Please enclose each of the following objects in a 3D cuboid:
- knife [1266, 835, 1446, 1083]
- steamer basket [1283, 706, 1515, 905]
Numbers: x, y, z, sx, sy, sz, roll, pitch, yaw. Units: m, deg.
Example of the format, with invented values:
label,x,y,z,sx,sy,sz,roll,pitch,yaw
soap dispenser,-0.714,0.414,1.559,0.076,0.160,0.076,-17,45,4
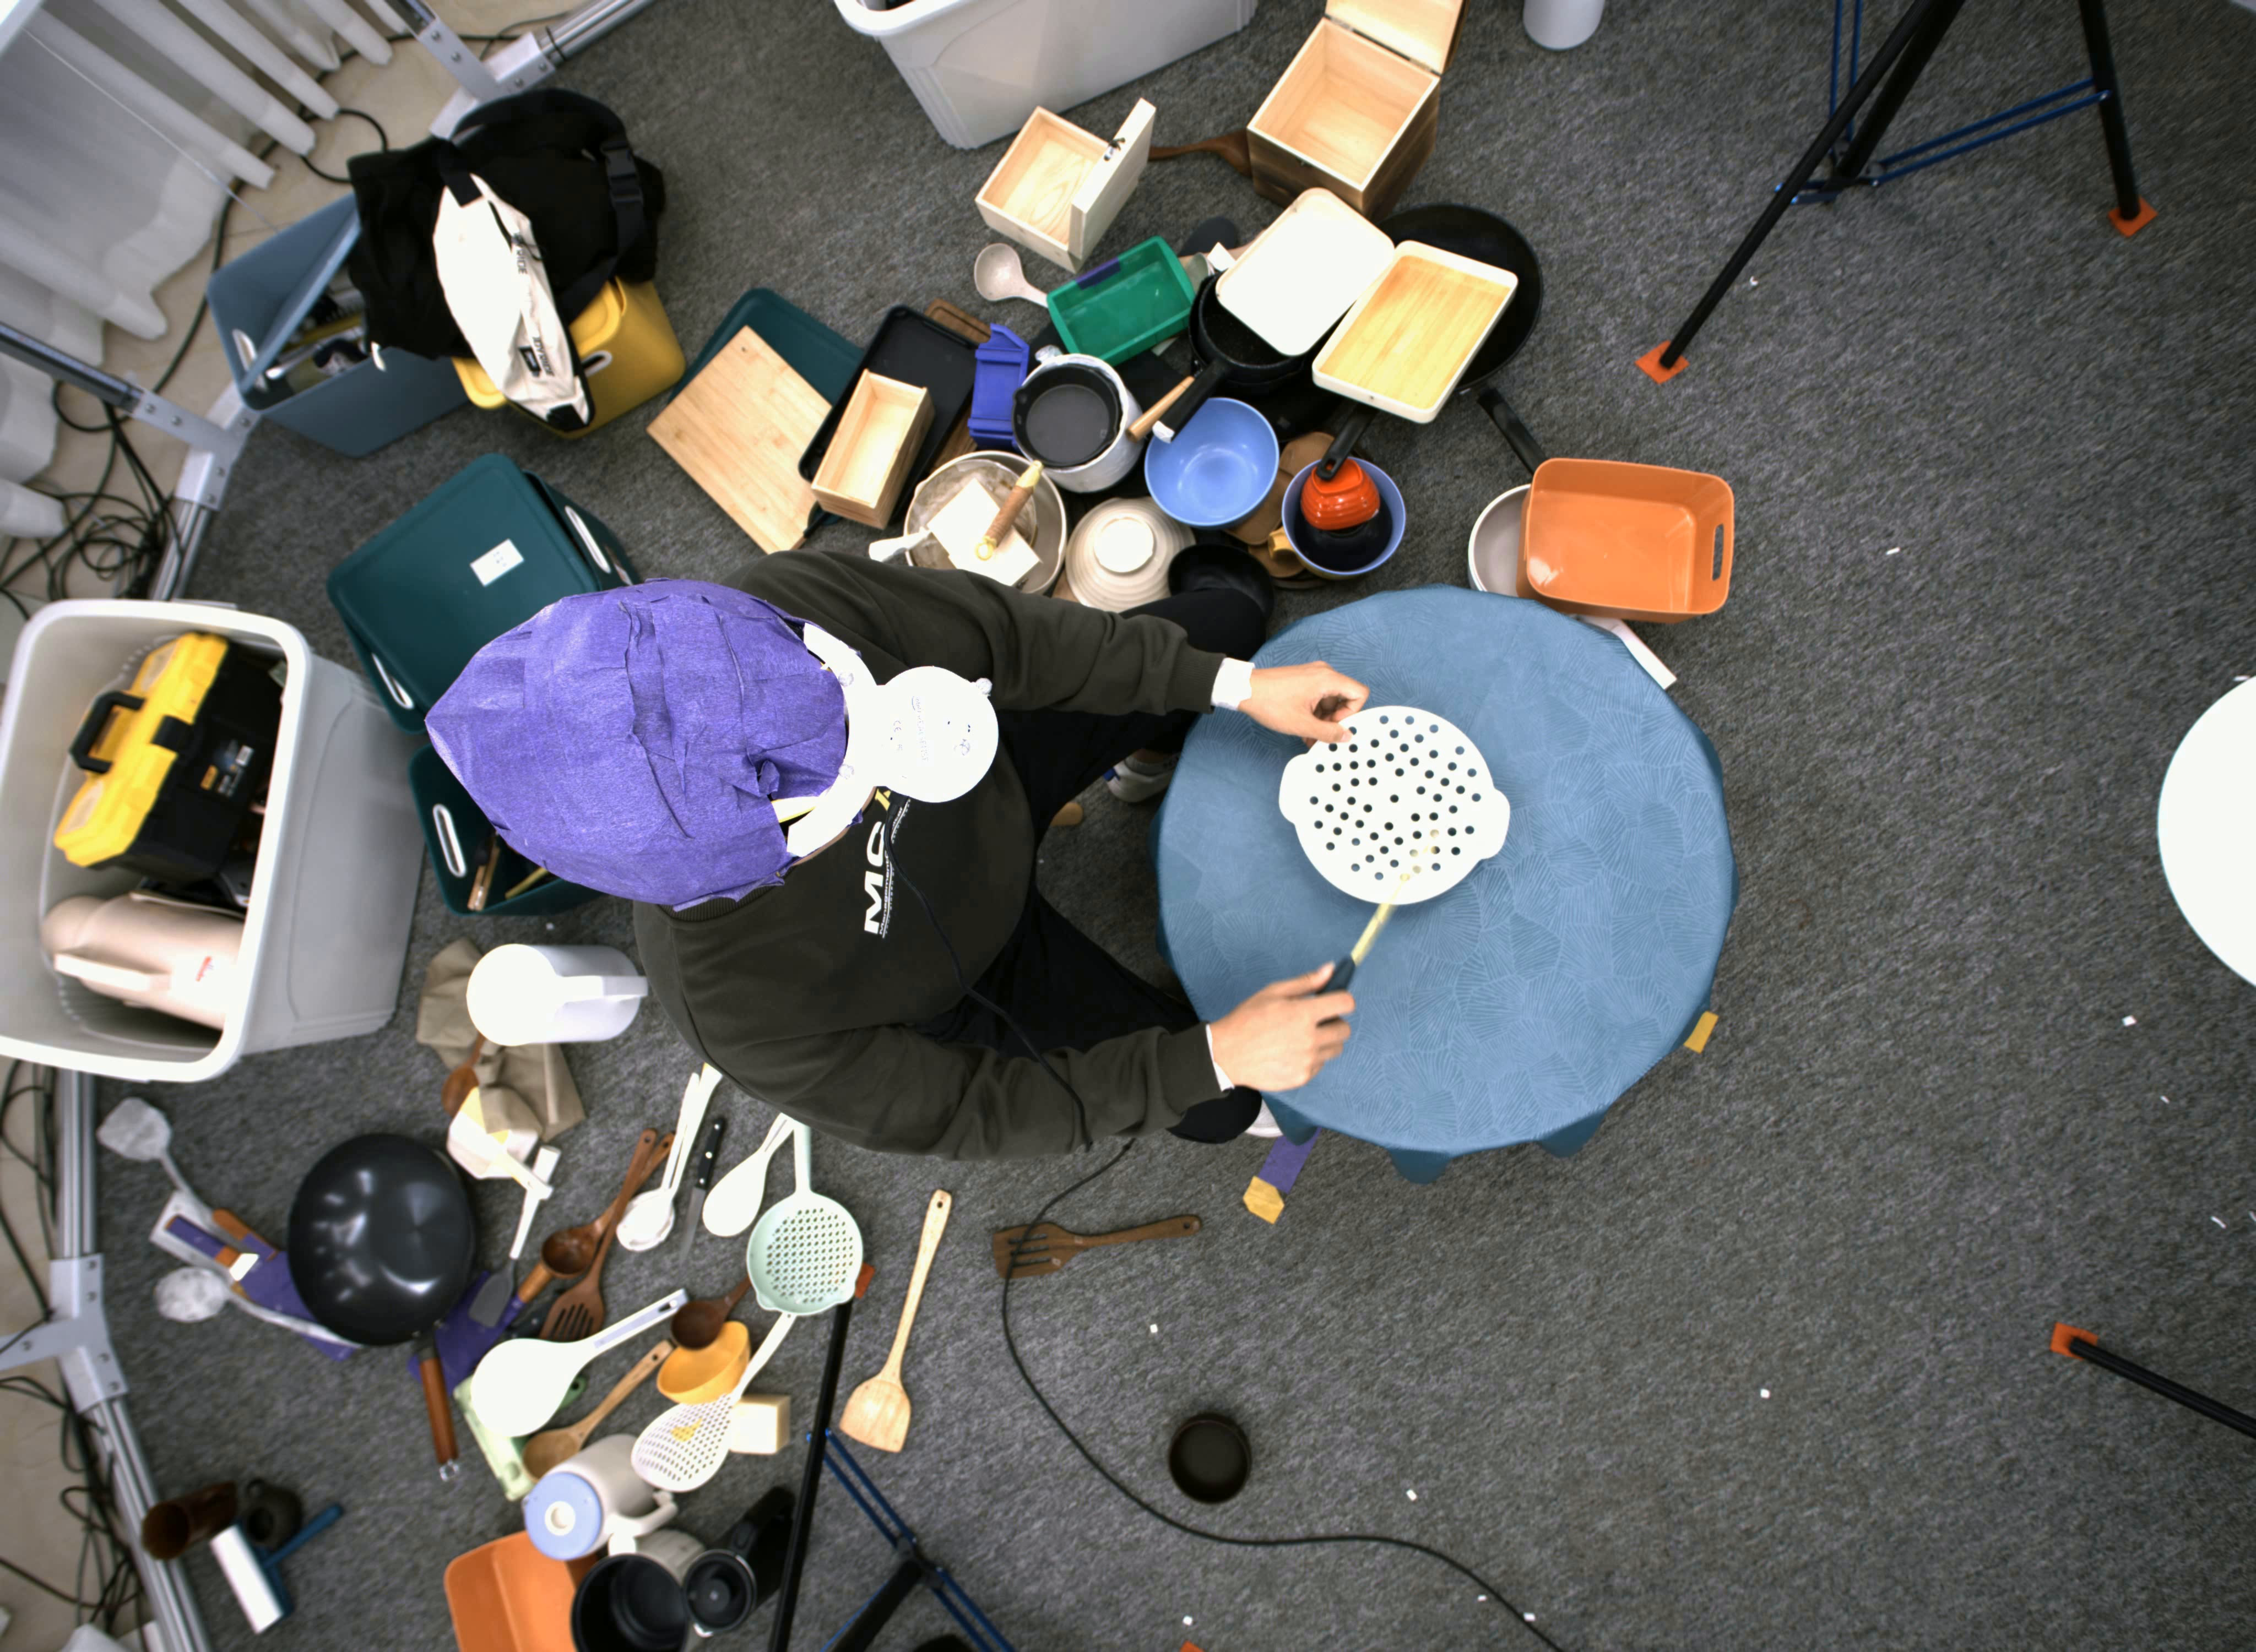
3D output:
label,x,y,z,sx,sy,sz,roll,pitch,yaw
knife,0.223,0.124,1.323,0.027,0.081,0.289,36,89,21
steamer basket,0.277,-0.025,1.412,0.231,0.068,0.204,12,103,12
